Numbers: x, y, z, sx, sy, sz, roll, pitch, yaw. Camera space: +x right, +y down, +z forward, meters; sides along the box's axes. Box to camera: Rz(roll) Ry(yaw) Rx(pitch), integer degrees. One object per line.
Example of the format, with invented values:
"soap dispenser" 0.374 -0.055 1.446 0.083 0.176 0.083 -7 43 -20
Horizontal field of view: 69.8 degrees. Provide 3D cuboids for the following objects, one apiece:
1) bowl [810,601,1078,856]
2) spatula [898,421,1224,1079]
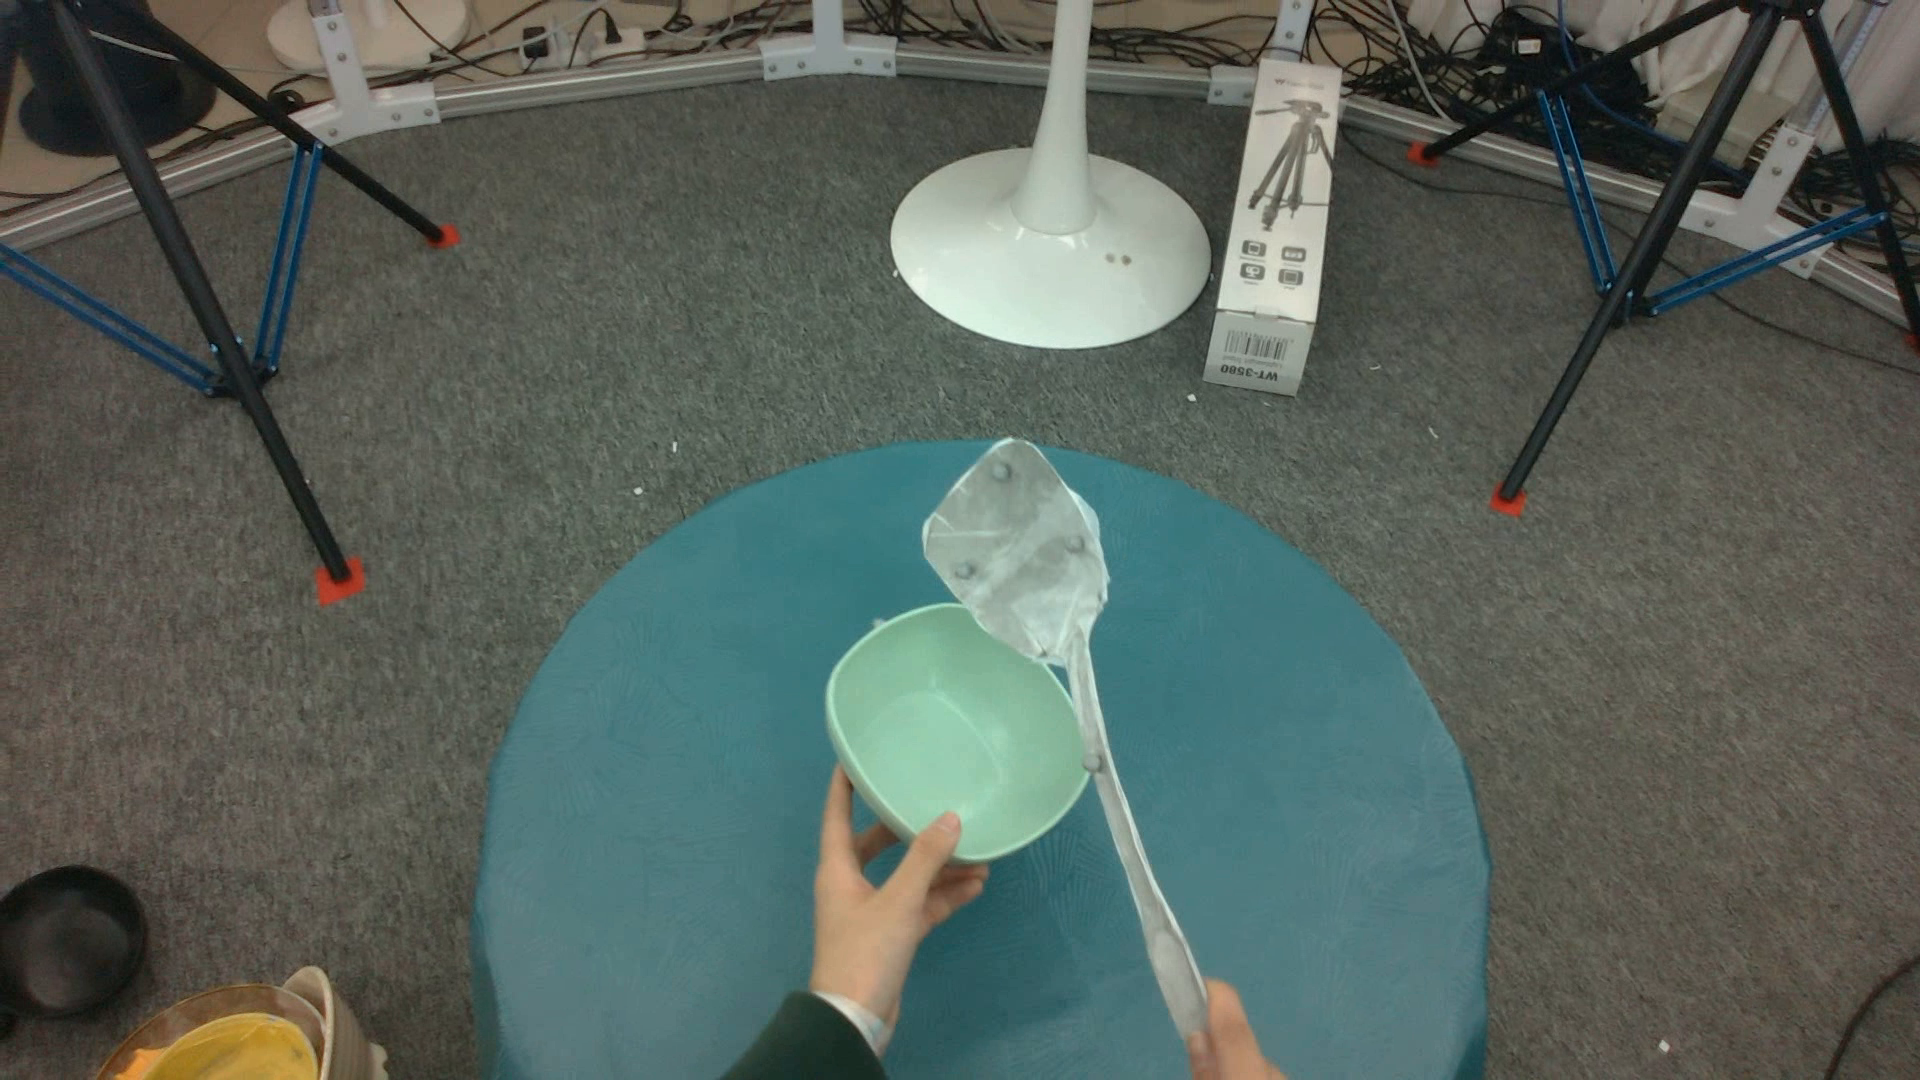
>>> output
"bowl" -0.016 0.109 0.744 0.151 0.058 0.152 15 48 -17
"spatula" 0.057 0.113 0.606 0.045 0.098 0.366 8 52 -41
